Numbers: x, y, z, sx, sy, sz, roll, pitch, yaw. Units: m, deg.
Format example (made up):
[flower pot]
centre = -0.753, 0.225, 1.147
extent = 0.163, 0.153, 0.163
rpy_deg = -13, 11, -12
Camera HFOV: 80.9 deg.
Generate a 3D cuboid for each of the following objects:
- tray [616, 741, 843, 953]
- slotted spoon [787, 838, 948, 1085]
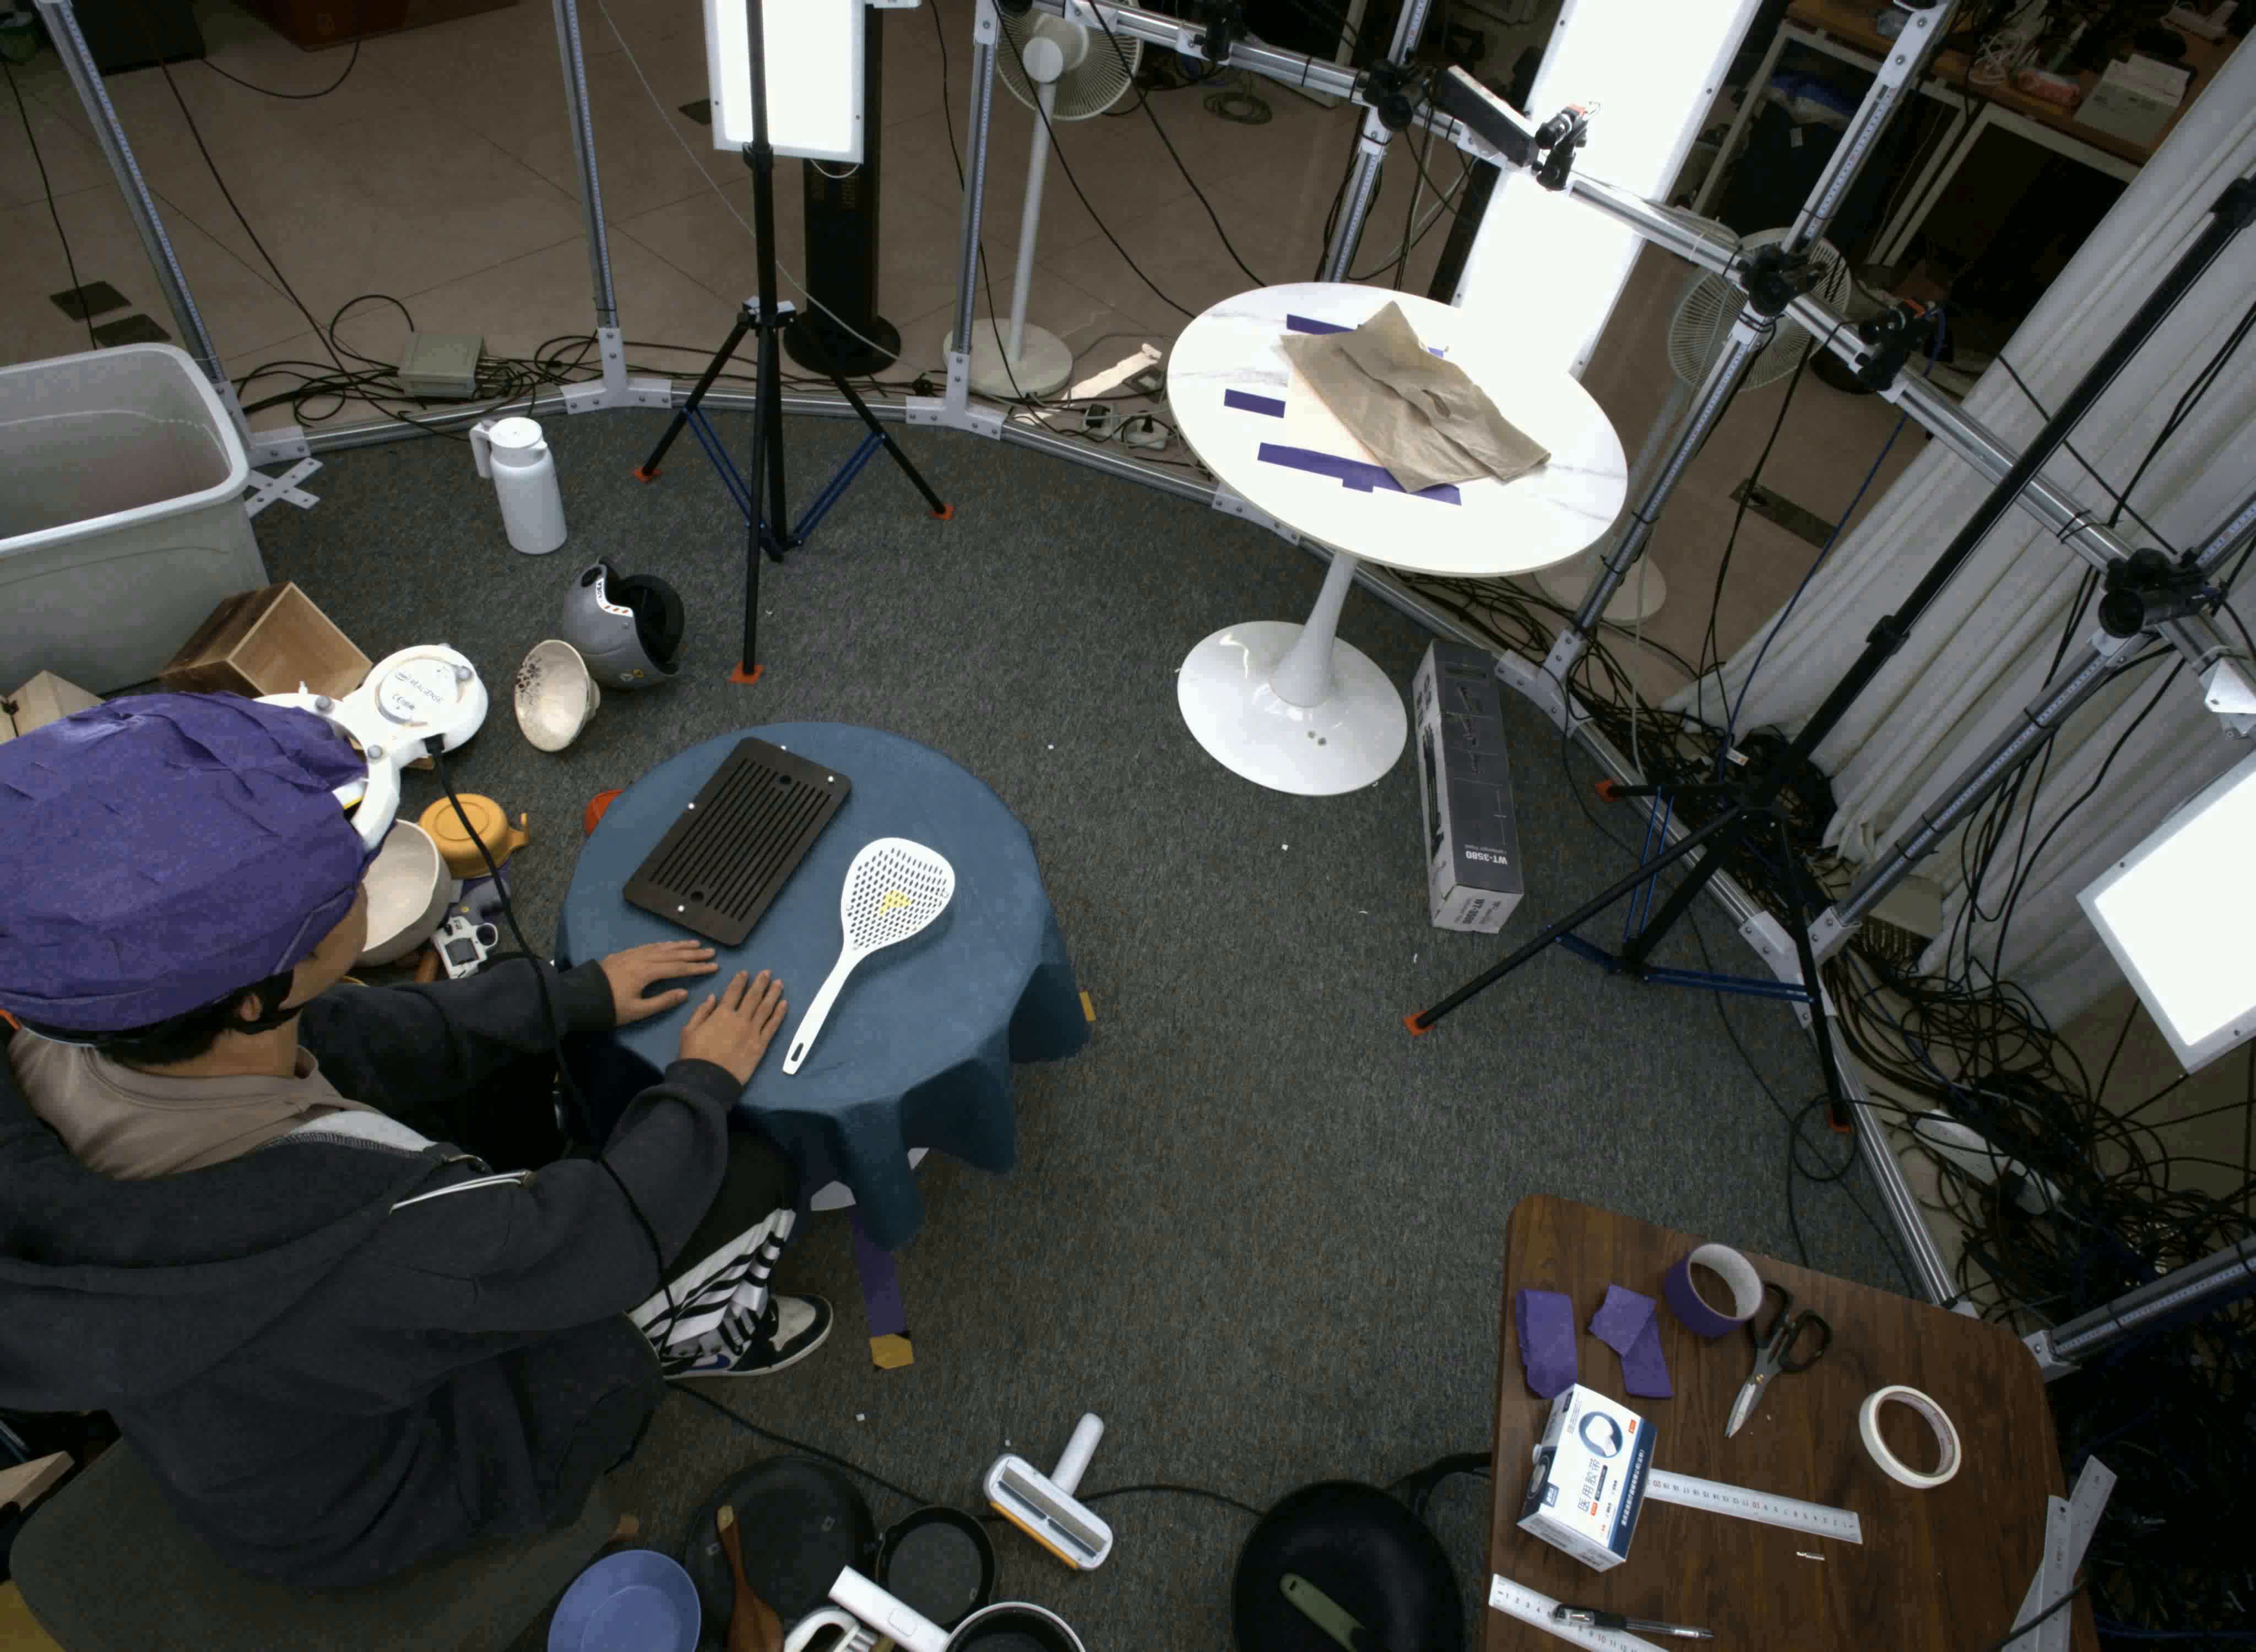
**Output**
[tray]
centre = -0.514, 0.020, 1.679
extent = 0.168, 0.019, 0.303
rpy_deg = 23, 52, 3
[slotted spoon]
centre = -0.340, 0.160, 1.605
extent = 0.135, 0.051, 0.345
rpy_deg = 24, 52, 2
